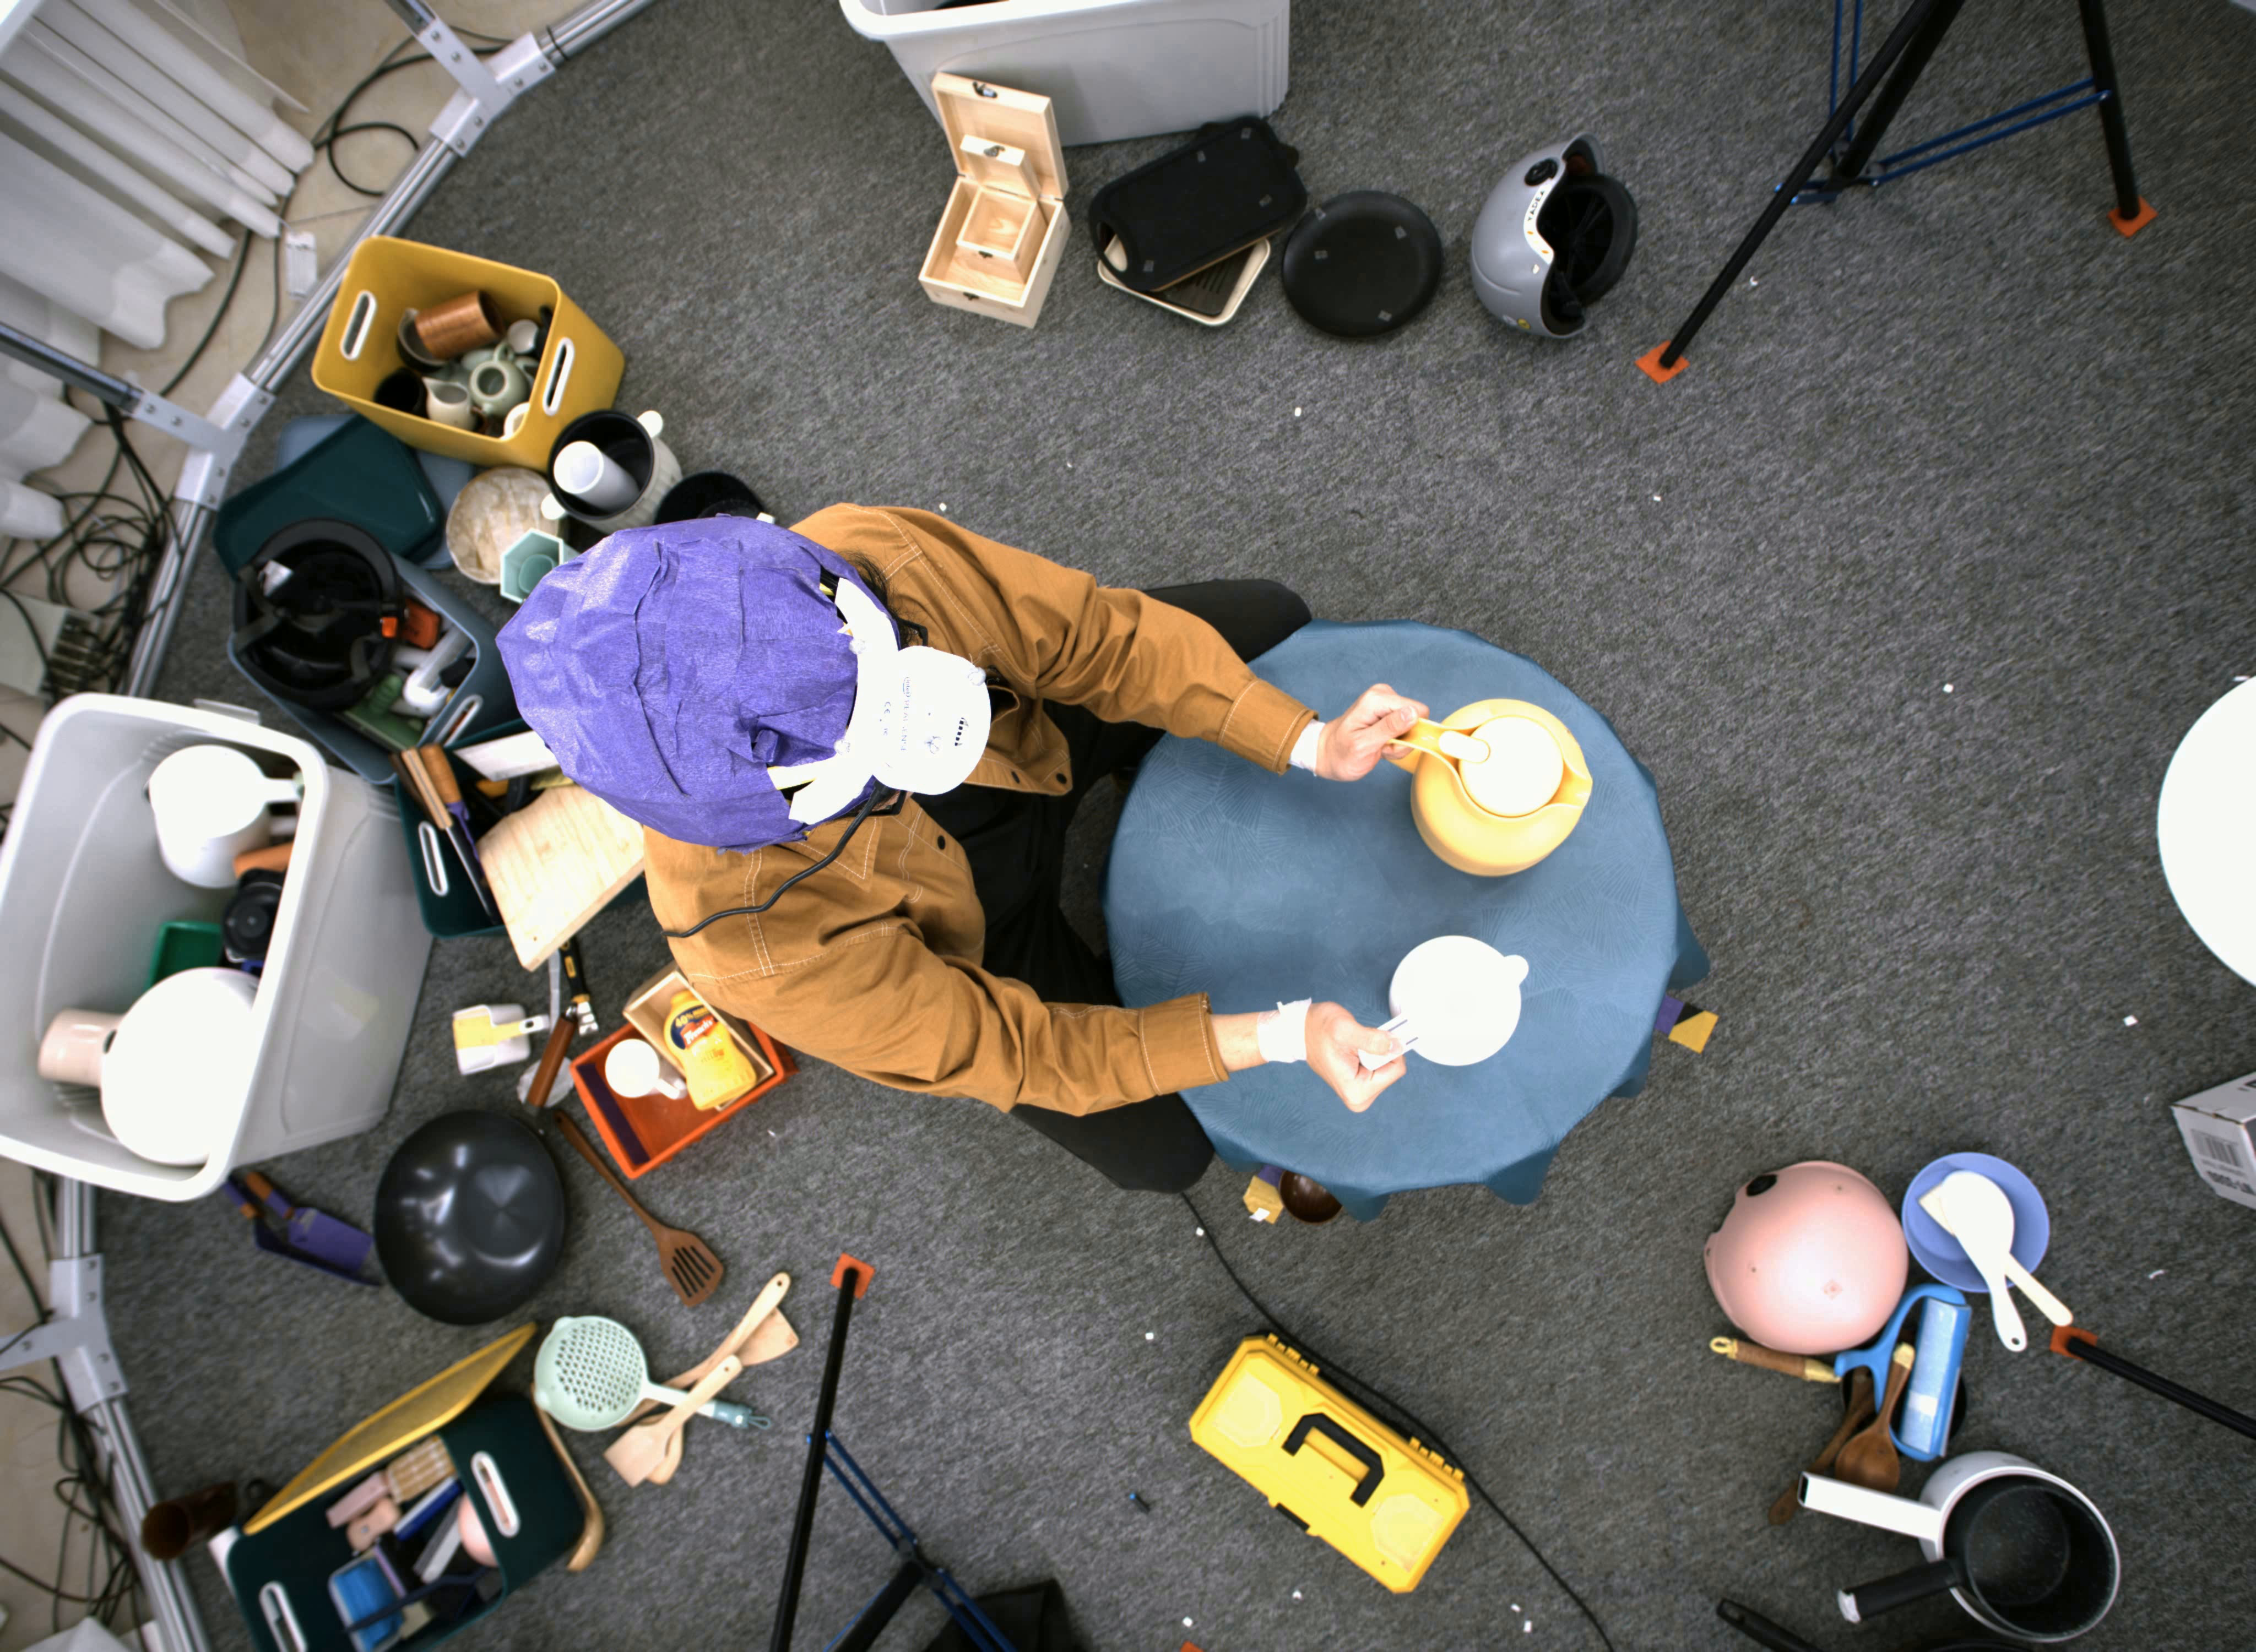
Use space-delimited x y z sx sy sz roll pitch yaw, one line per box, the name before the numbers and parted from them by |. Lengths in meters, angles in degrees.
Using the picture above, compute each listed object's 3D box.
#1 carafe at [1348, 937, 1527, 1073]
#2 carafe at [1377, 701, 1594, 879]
carafe | 0.294 0.173 1.315 0.174 0.268 0.123 -32 82 8
carafe | 0.338 -0.048 1.320 0.202 0.261 0.163 25 87 10
